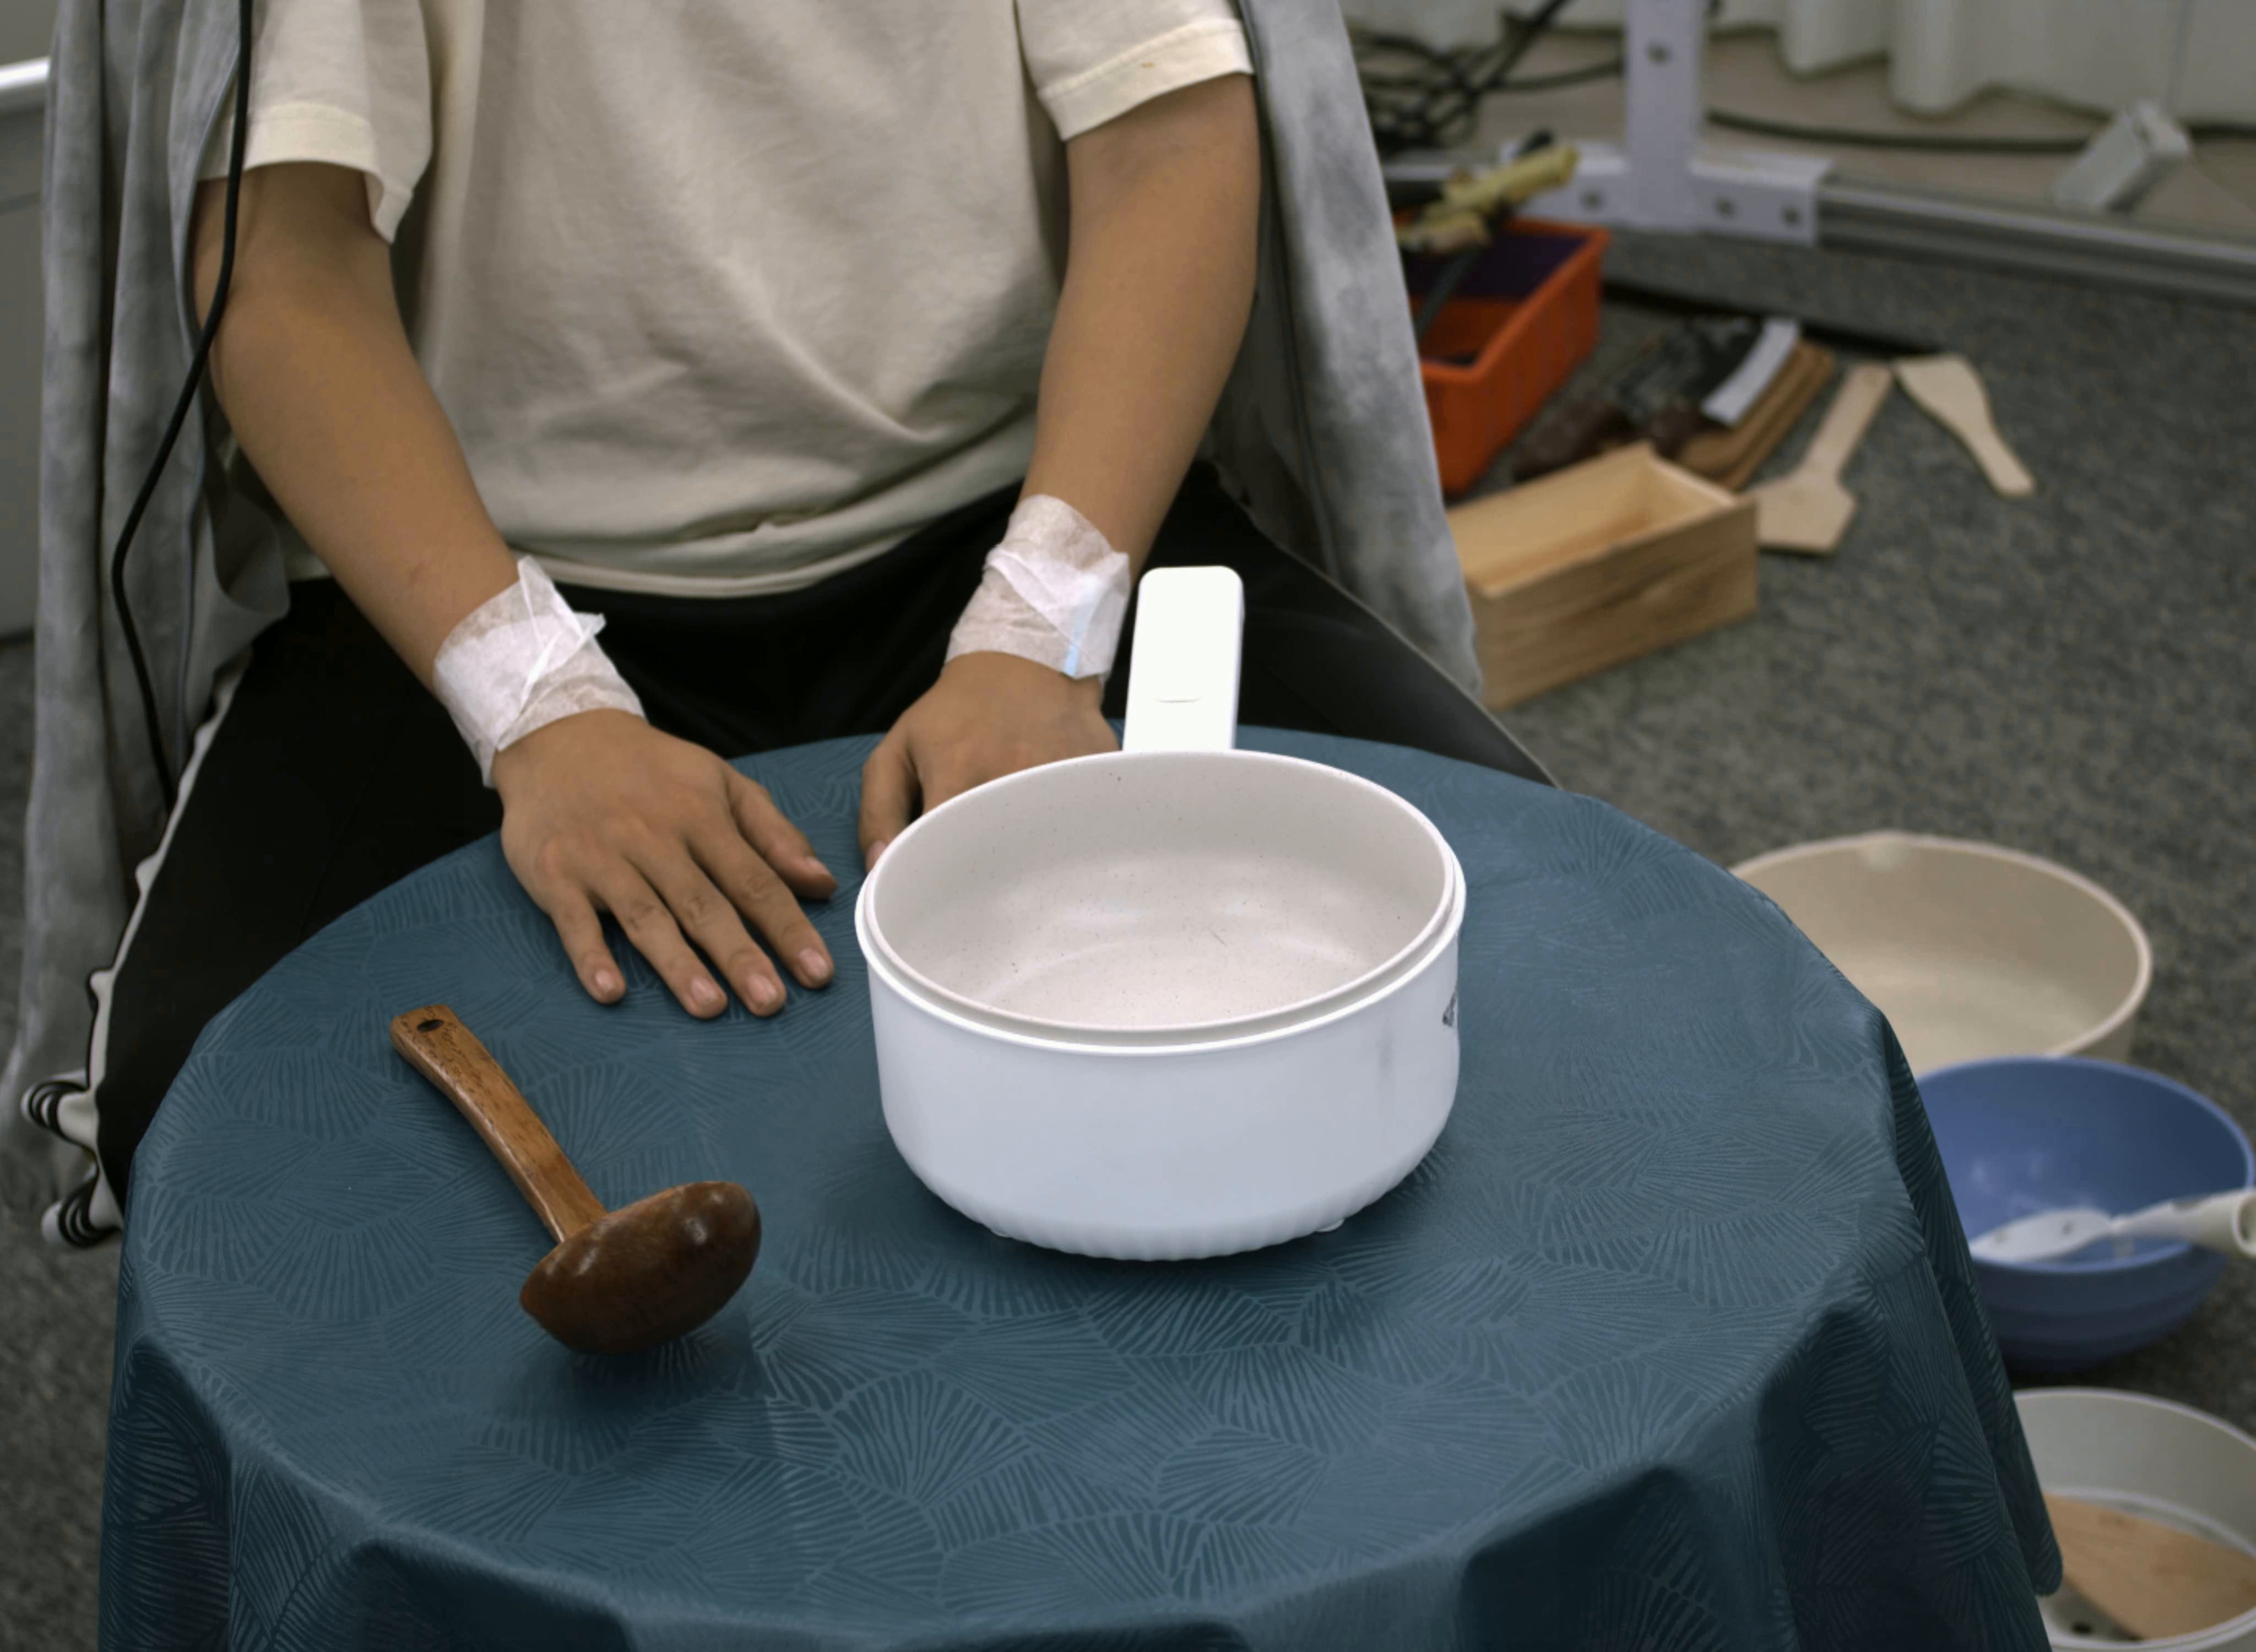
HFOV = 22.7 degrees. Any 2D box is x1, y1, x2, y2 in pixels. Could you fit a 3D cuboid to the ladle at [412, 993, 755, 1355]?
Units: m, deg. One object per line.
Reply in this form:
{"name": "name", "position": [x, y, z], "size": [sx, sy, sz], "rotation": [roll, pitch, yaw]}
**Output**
{"name": "ladle", "position": [-0.196, 0.095, 1.846], "size": [0.082, 0.076, 0.276], "rotation": [-15, 30, -18]}

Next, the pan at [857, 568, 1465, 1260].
{"name": "pan", "position": [0.018, 0.027, 1.935], "size": [0.200, 0.101, 0.360], "rotation": [-2, 26, 5]}
